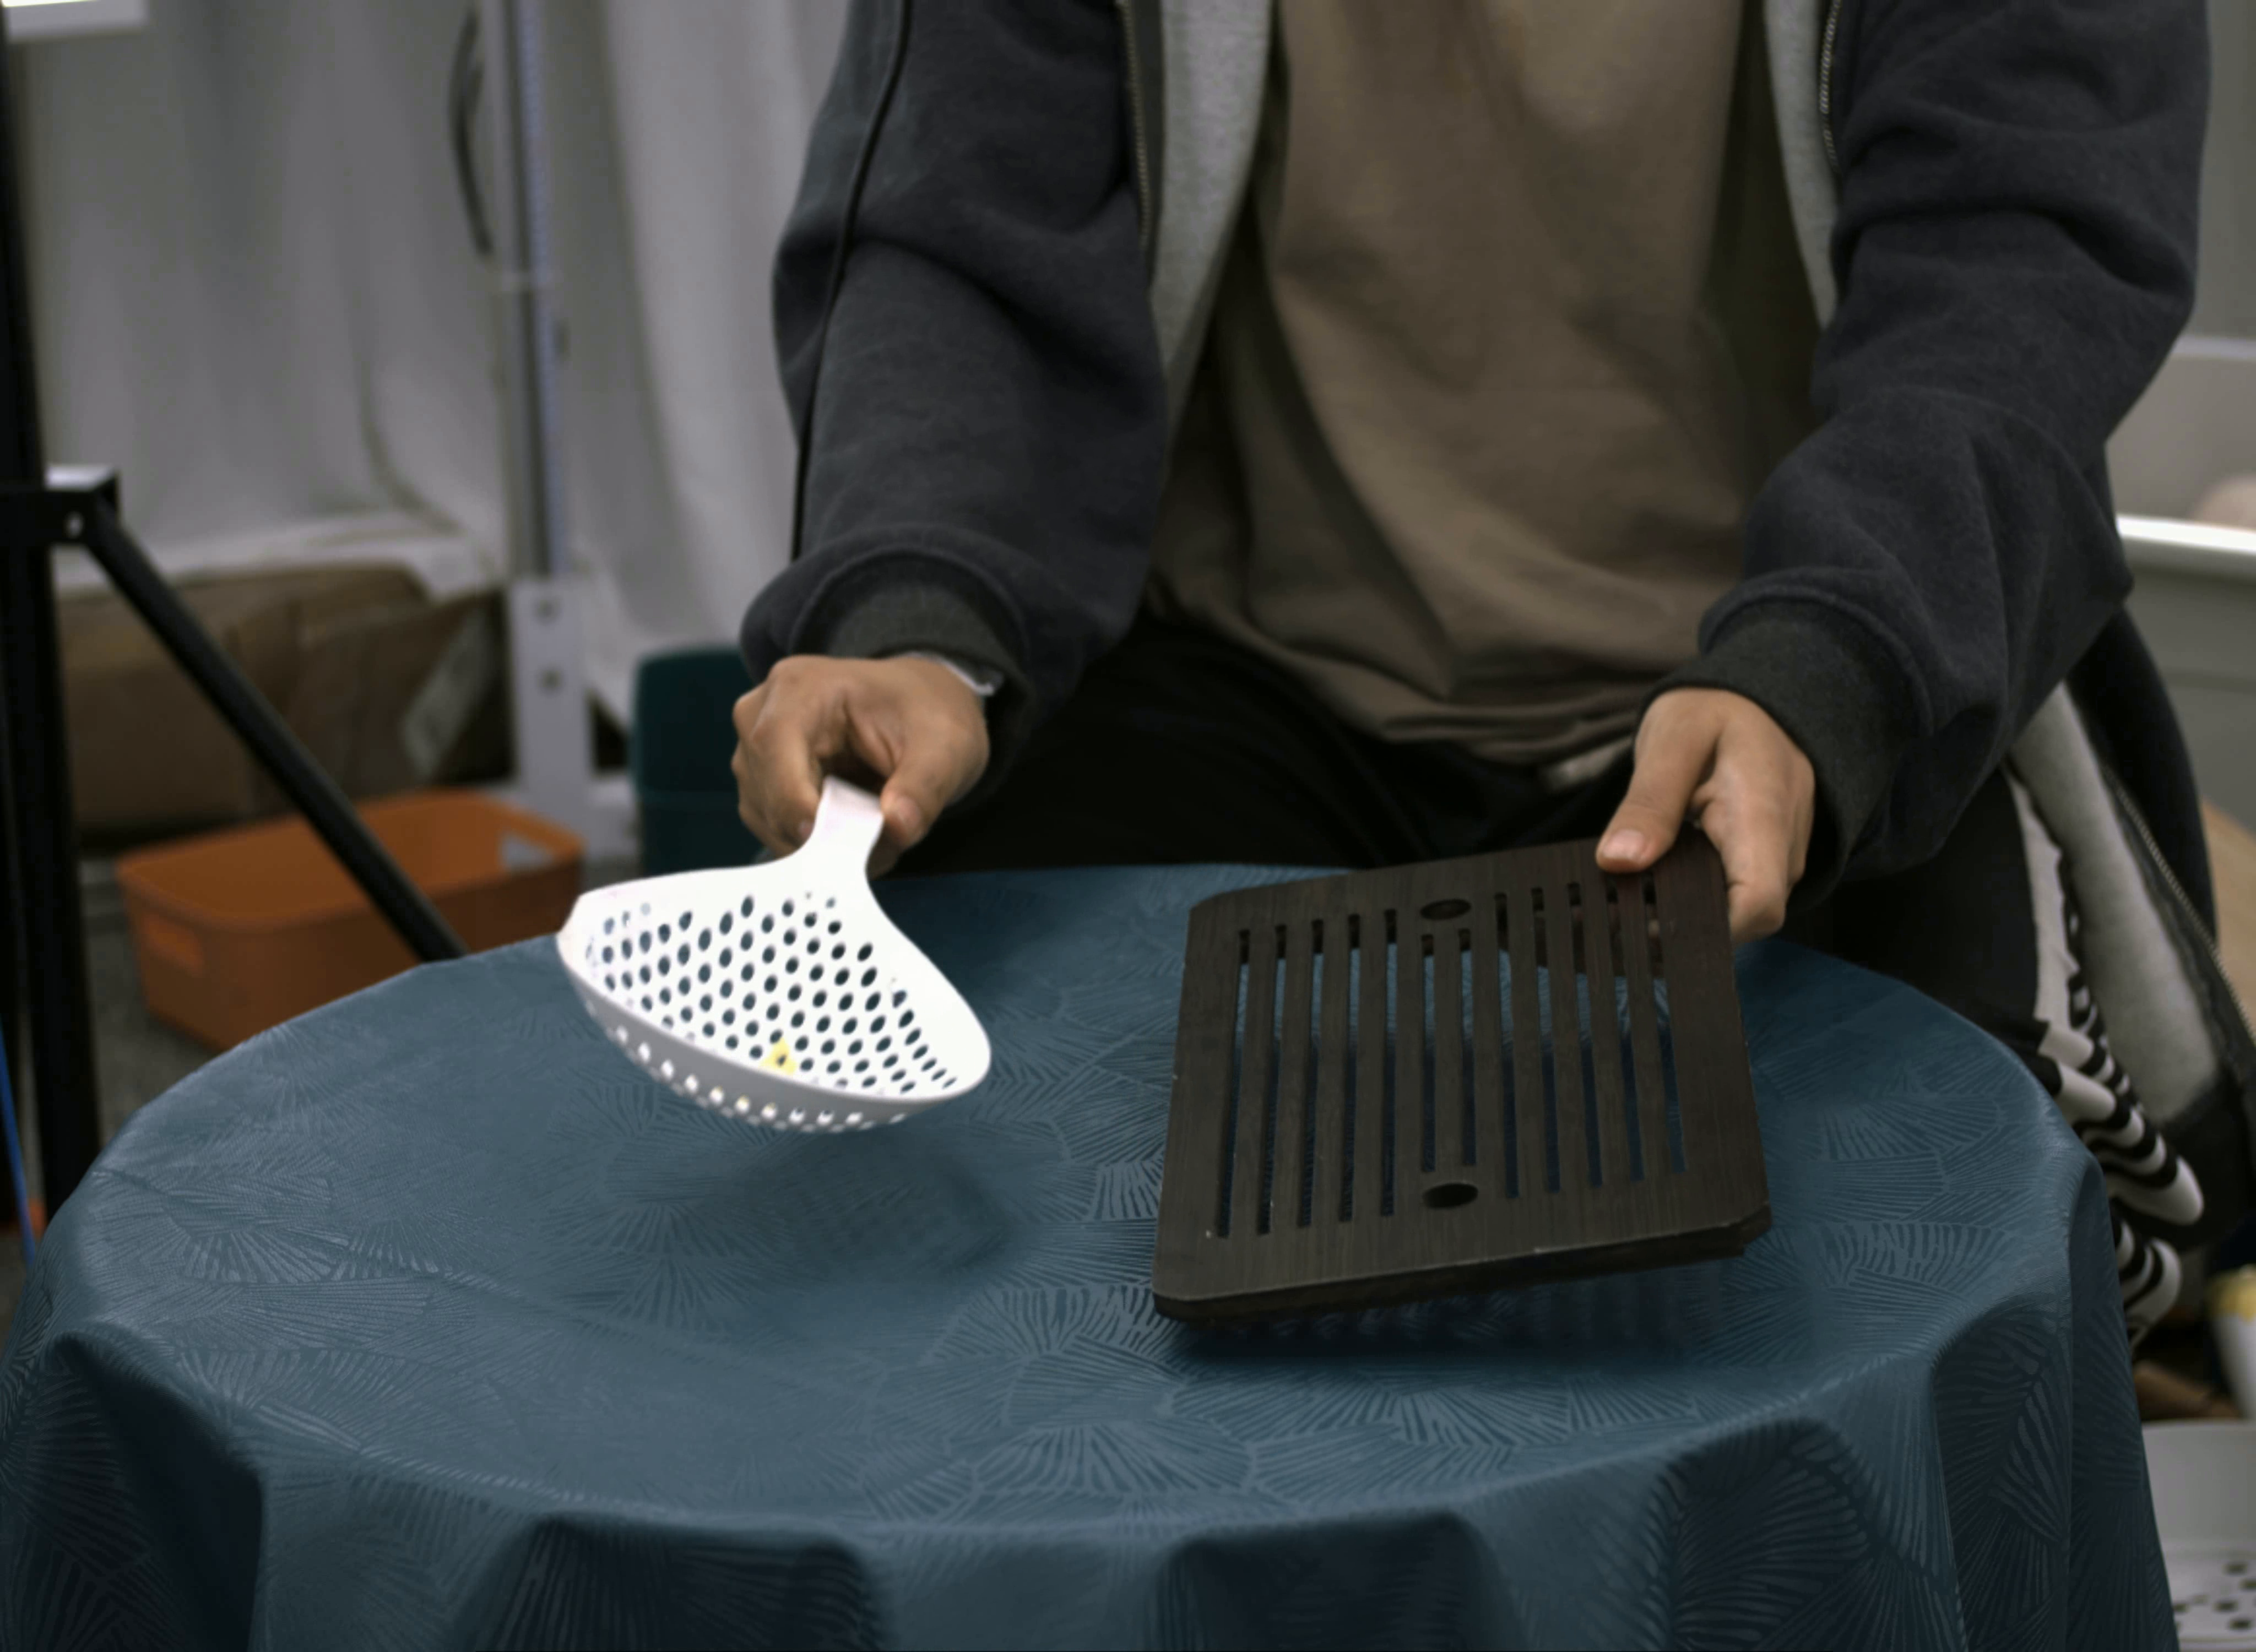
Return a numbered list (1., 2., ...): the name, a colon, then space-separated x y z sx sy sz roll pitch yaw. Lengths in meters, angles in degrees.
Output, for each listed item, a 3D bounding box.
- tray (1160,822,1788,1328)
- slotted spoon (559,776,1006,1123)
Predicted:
1. tray: 0.100 0.070 1.551 0.170 0.018 0.307 -9 20 7
2. slotted spoon: -0.099 0.025 1.658 0.136 0.050 0.348 17 19 -2
